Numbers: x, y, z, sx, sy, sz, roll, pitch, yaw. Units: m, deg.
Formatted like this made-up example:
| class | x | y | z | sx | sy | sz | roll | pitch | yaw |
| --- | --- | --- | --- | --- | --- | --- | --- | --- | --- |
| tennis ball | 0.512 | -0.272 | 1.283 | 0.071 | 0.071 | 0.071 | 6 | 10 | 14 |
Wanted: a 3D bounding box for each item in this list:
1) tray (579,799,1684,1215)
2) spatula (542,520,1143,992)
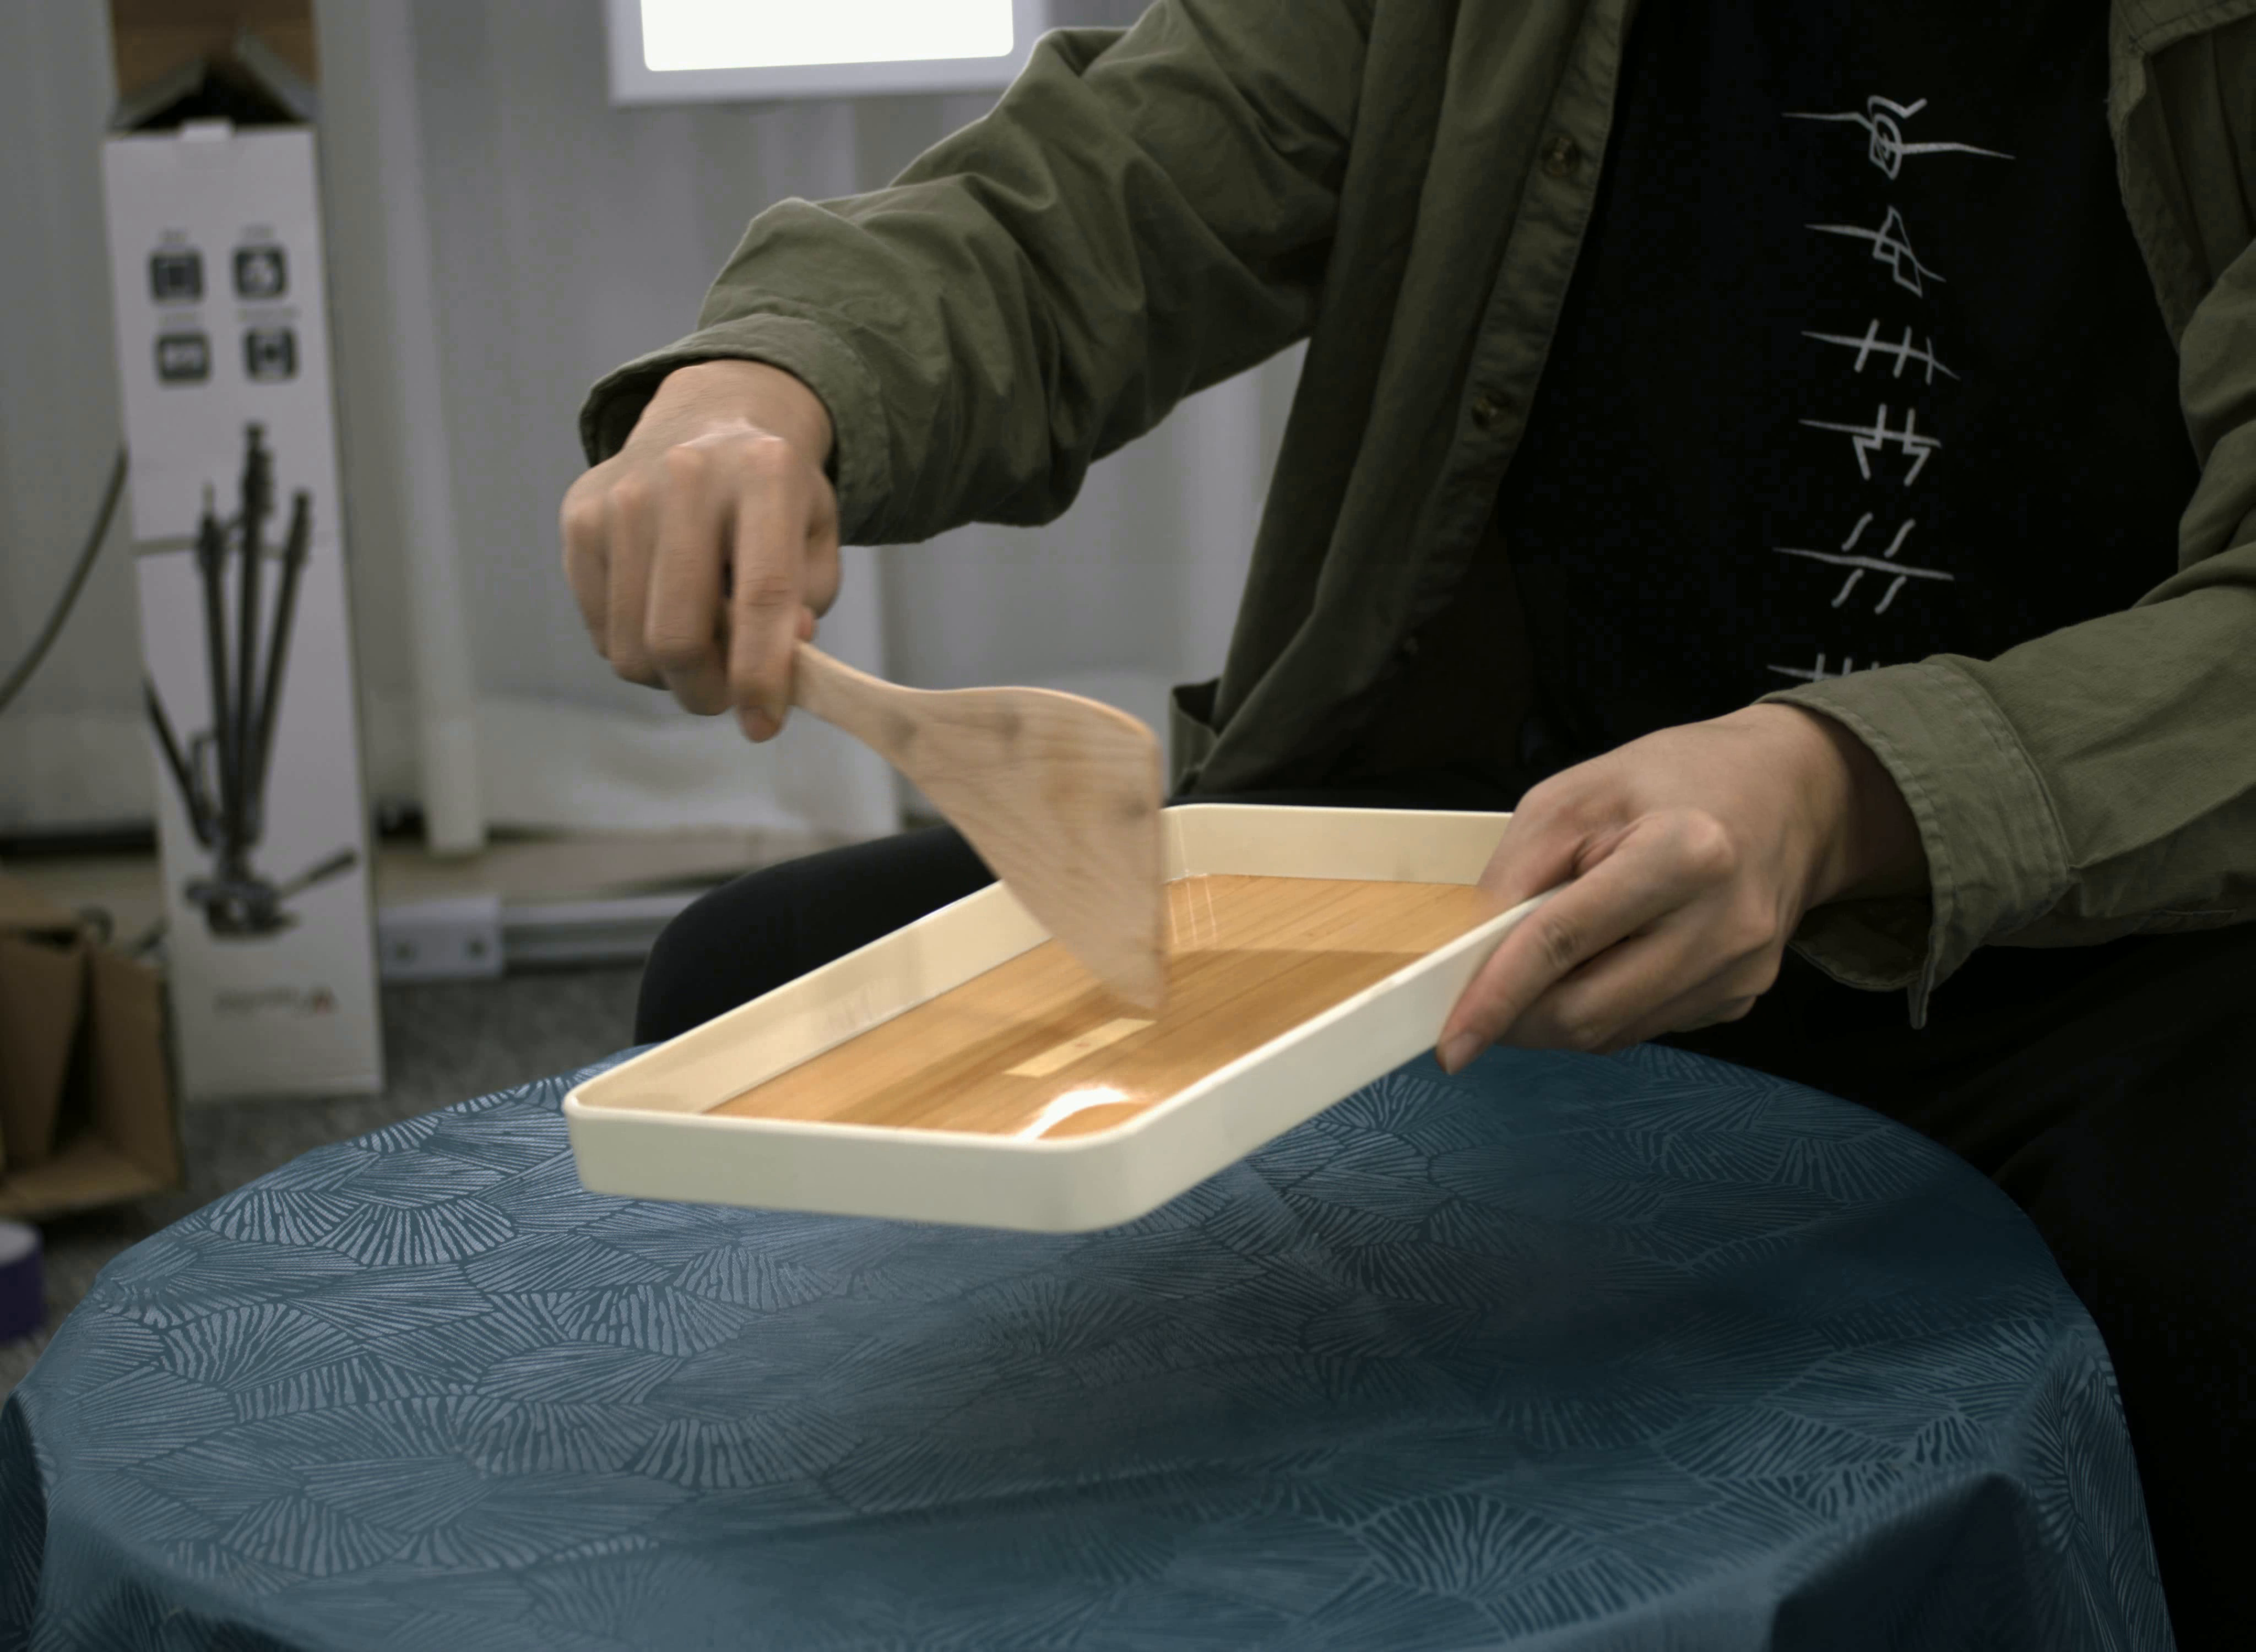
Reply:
| class | x | y | z | sx | sy | sz | roll | pitch | yaw |
| --- | --- | --- | --- | --- | --- | --- | --- | --- | --- |
| tray | 0.007 | 0.046 | 1.544 | 0.192 | 0.027 | 0.300 | 3 | 17 | 37 |
| spatula | -0.088 | -0.038 | 1.608 | 0.016 | 0.079 | 0.330 | -10 | 24 | -36 |
